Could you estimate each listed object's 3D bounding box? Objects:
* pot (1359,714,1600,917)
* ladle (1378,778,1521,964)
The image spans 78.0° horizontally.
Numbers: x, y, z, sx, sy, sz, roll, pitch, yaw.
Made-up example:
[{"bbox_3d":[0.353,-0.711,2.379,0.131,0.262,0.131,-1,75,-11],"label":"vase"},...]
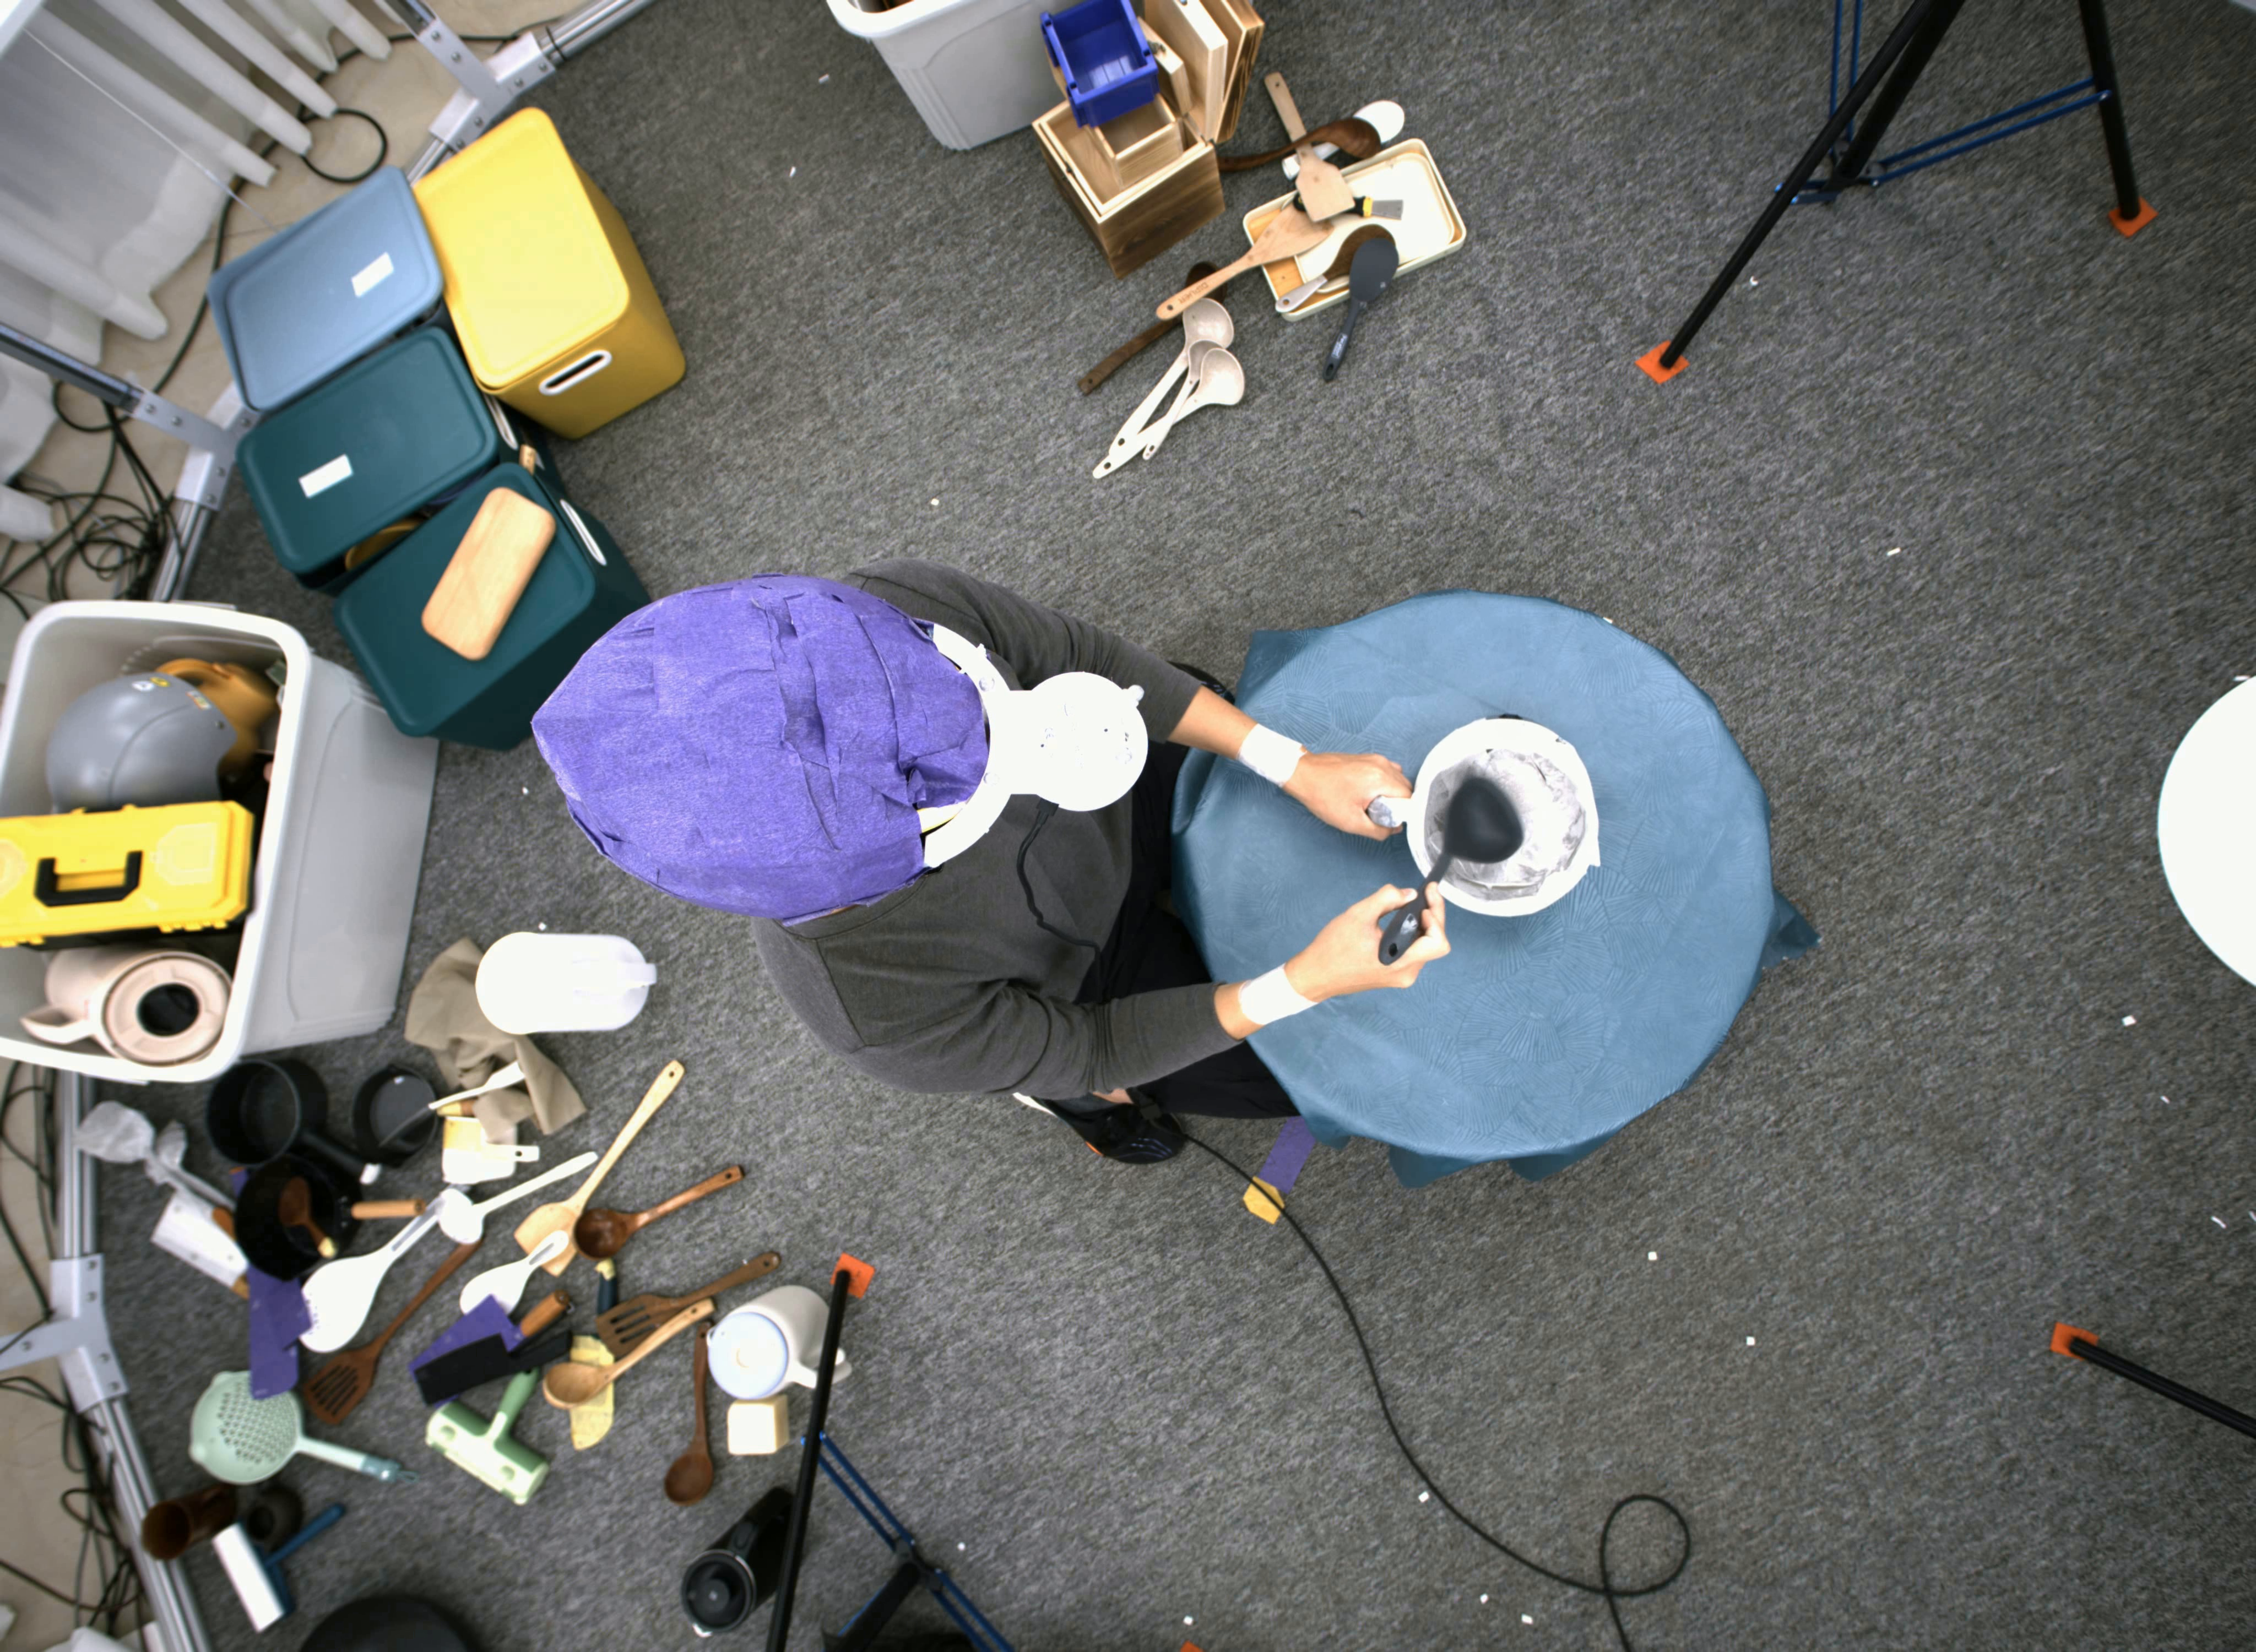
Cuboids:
[{"bbox_3d":[0.344,-0.018,1.366,0.234,0.134,0.181,4,107,15],"label":"pot"},{"bbox_3d":[0.290,0.042,1.249,0.065,0.307,0.086,-38,91,34],"label":"ladle"}]
